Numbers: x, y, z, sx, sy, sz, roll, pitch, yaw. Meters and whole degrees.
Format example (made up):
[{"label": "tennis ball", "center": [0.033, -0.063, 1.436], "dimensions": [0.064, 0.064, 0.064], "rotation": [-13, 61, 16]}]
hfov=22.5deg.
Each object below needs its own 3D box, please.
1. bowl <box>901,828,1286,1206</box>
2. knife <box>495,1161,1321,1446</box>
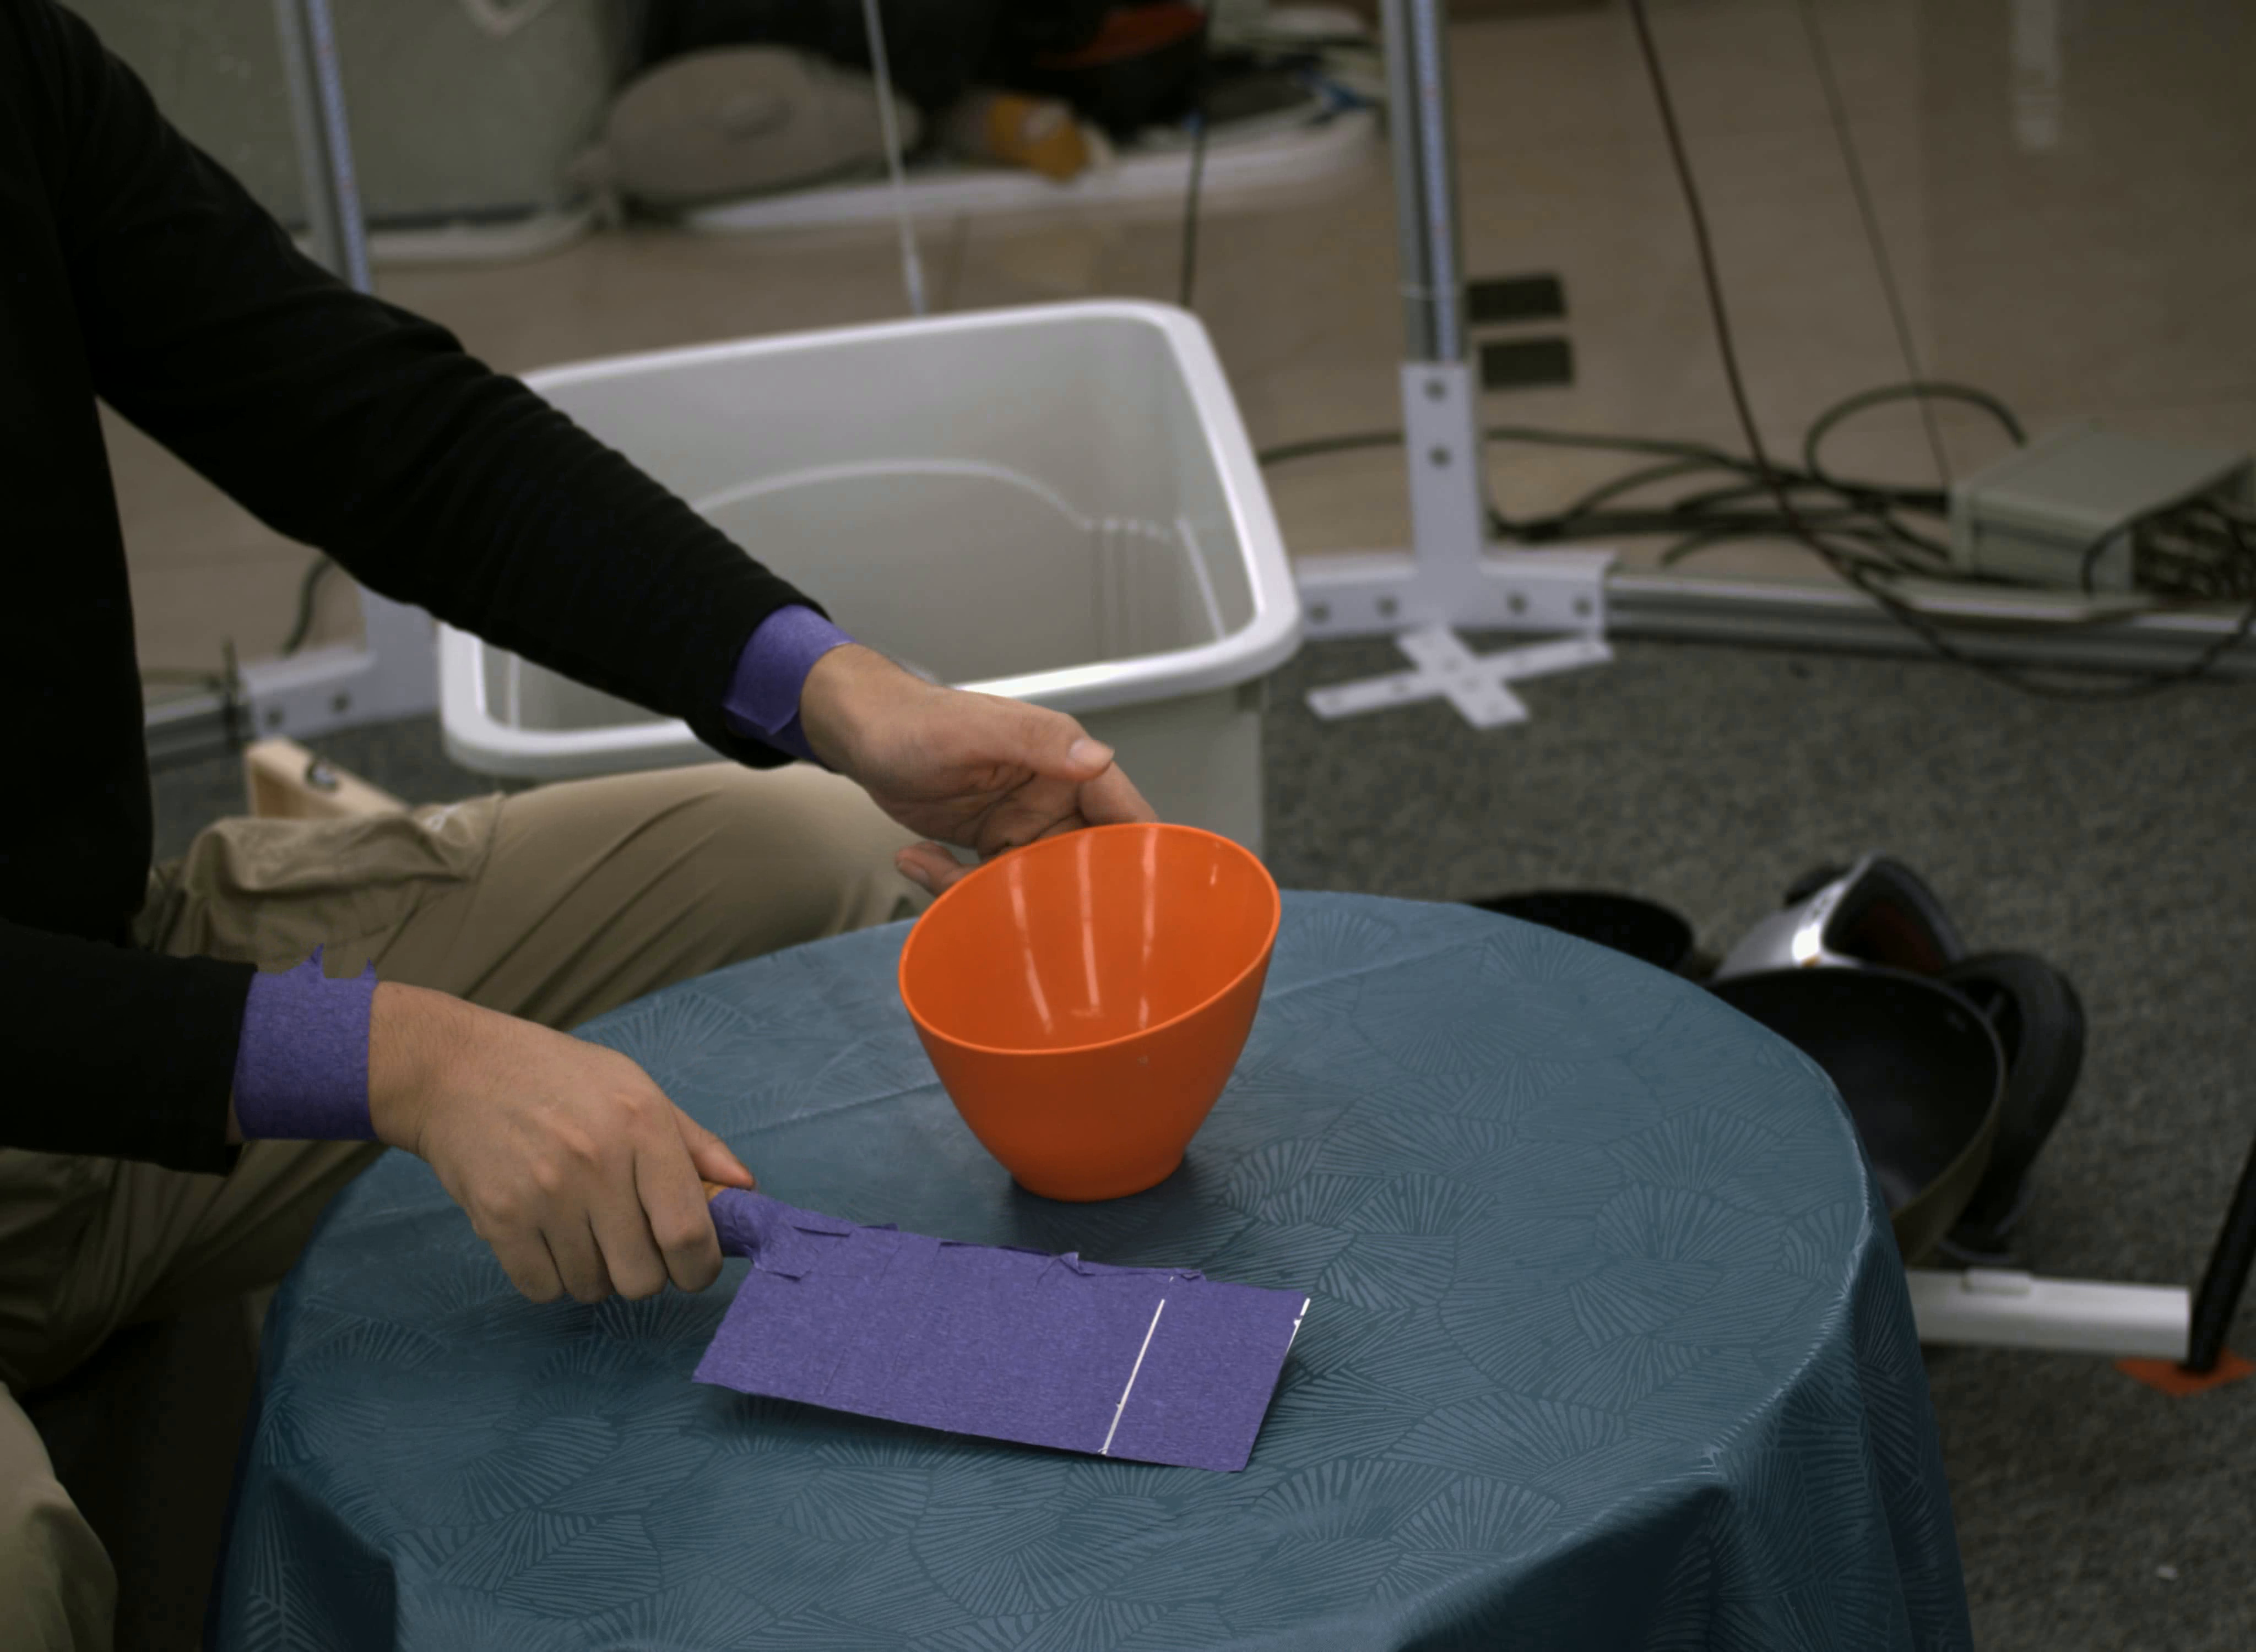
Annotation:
[{"label": "bowl", "center": [-0.010, 0.079, 2.160], "dimensions": [0.148, 0.106, 0.146], "rotation": [-5, 27, 2]}, {"label": "knife", "center": [-0.092, 0.171, 2.035], "dimensions": [0.314, 0.033, 0.102], "rotation": [6, 41, 18]}]
